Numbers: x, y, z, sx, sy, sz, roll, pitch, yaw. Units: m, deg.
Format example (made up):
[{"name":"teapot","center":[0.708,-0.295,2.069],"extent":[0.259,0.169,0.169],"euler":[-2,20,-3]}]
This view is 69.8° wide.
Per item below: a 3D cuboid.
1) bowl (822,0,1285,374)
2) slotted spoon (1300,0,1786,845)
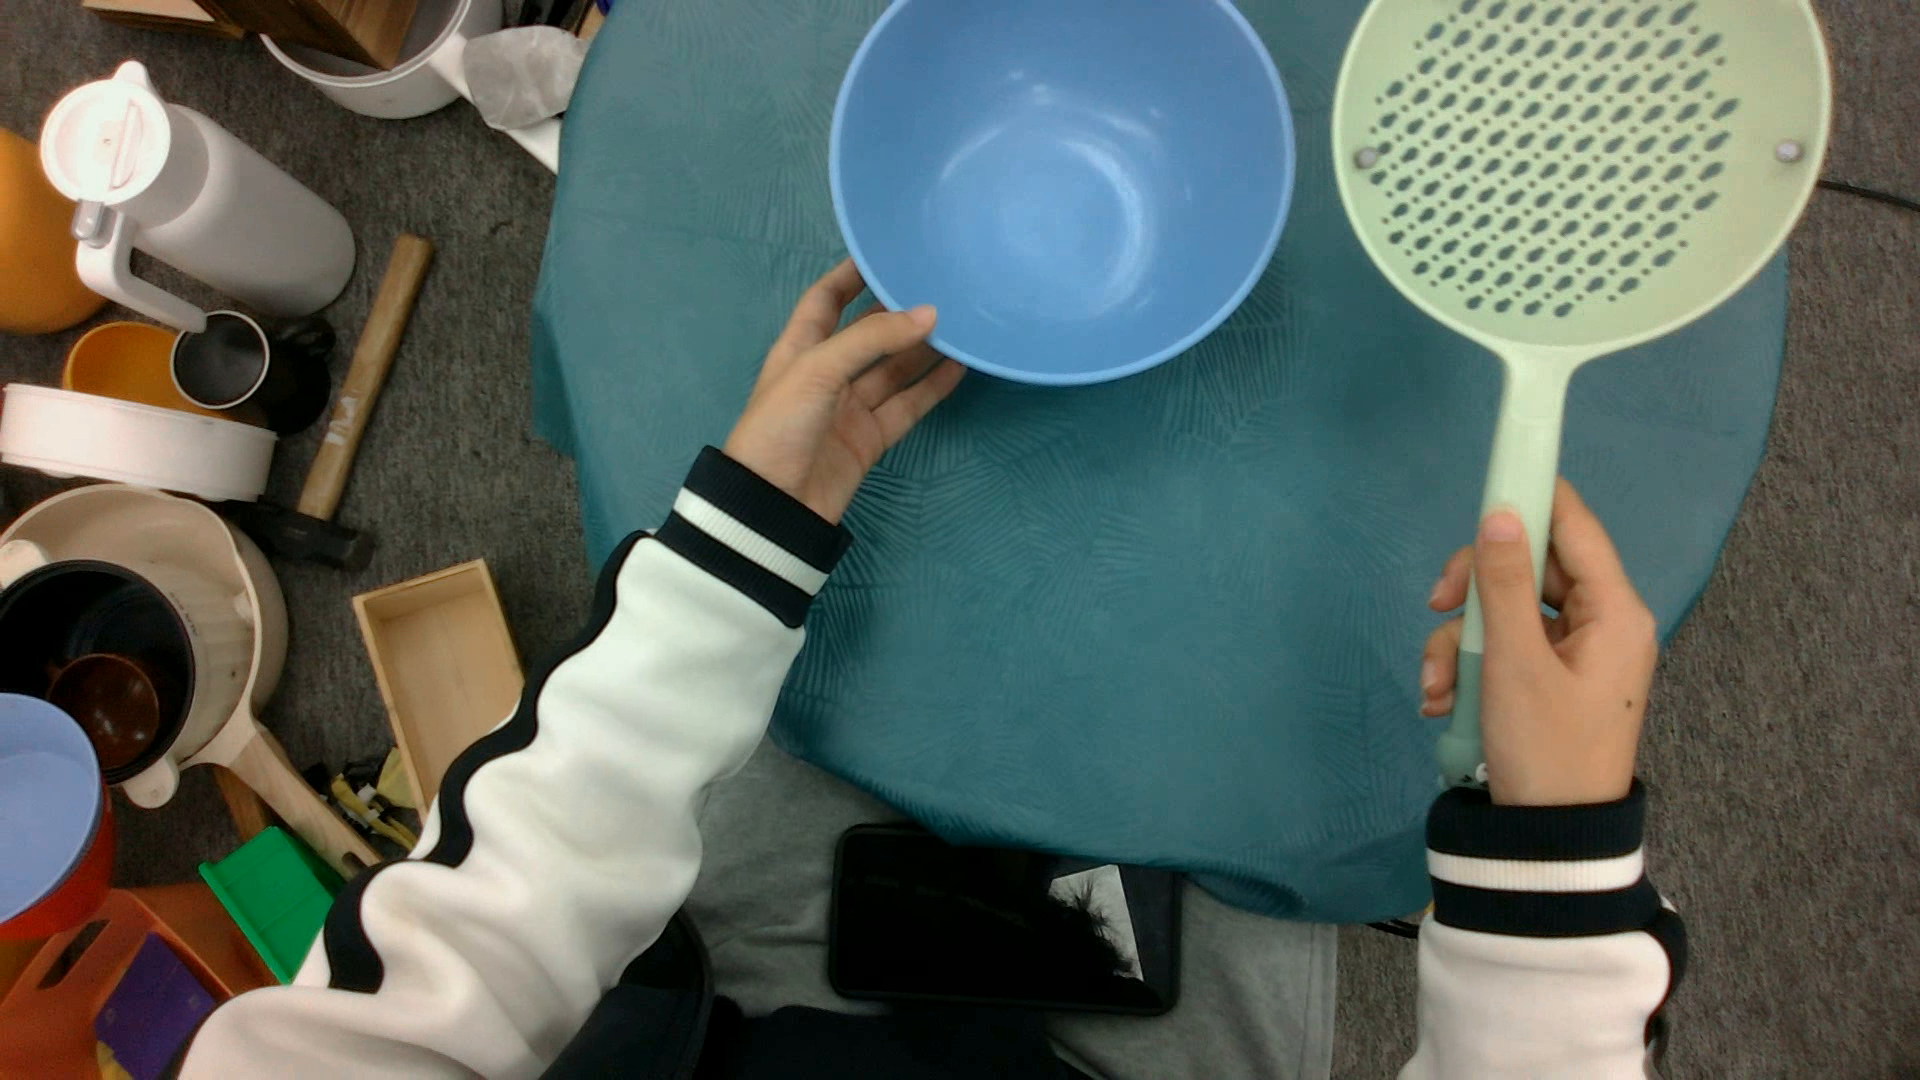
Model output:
[{"name":"bowl","center":[0.040,-0.162,0.627],"extent":[0.196,0.095,0.196],"euler":[0,83,1]},{"name":"slotted spoon","center":[0.202,-0.062,0.517],"extent":[0.169,0.075,0.359],"euler":[6,85,9]}]
